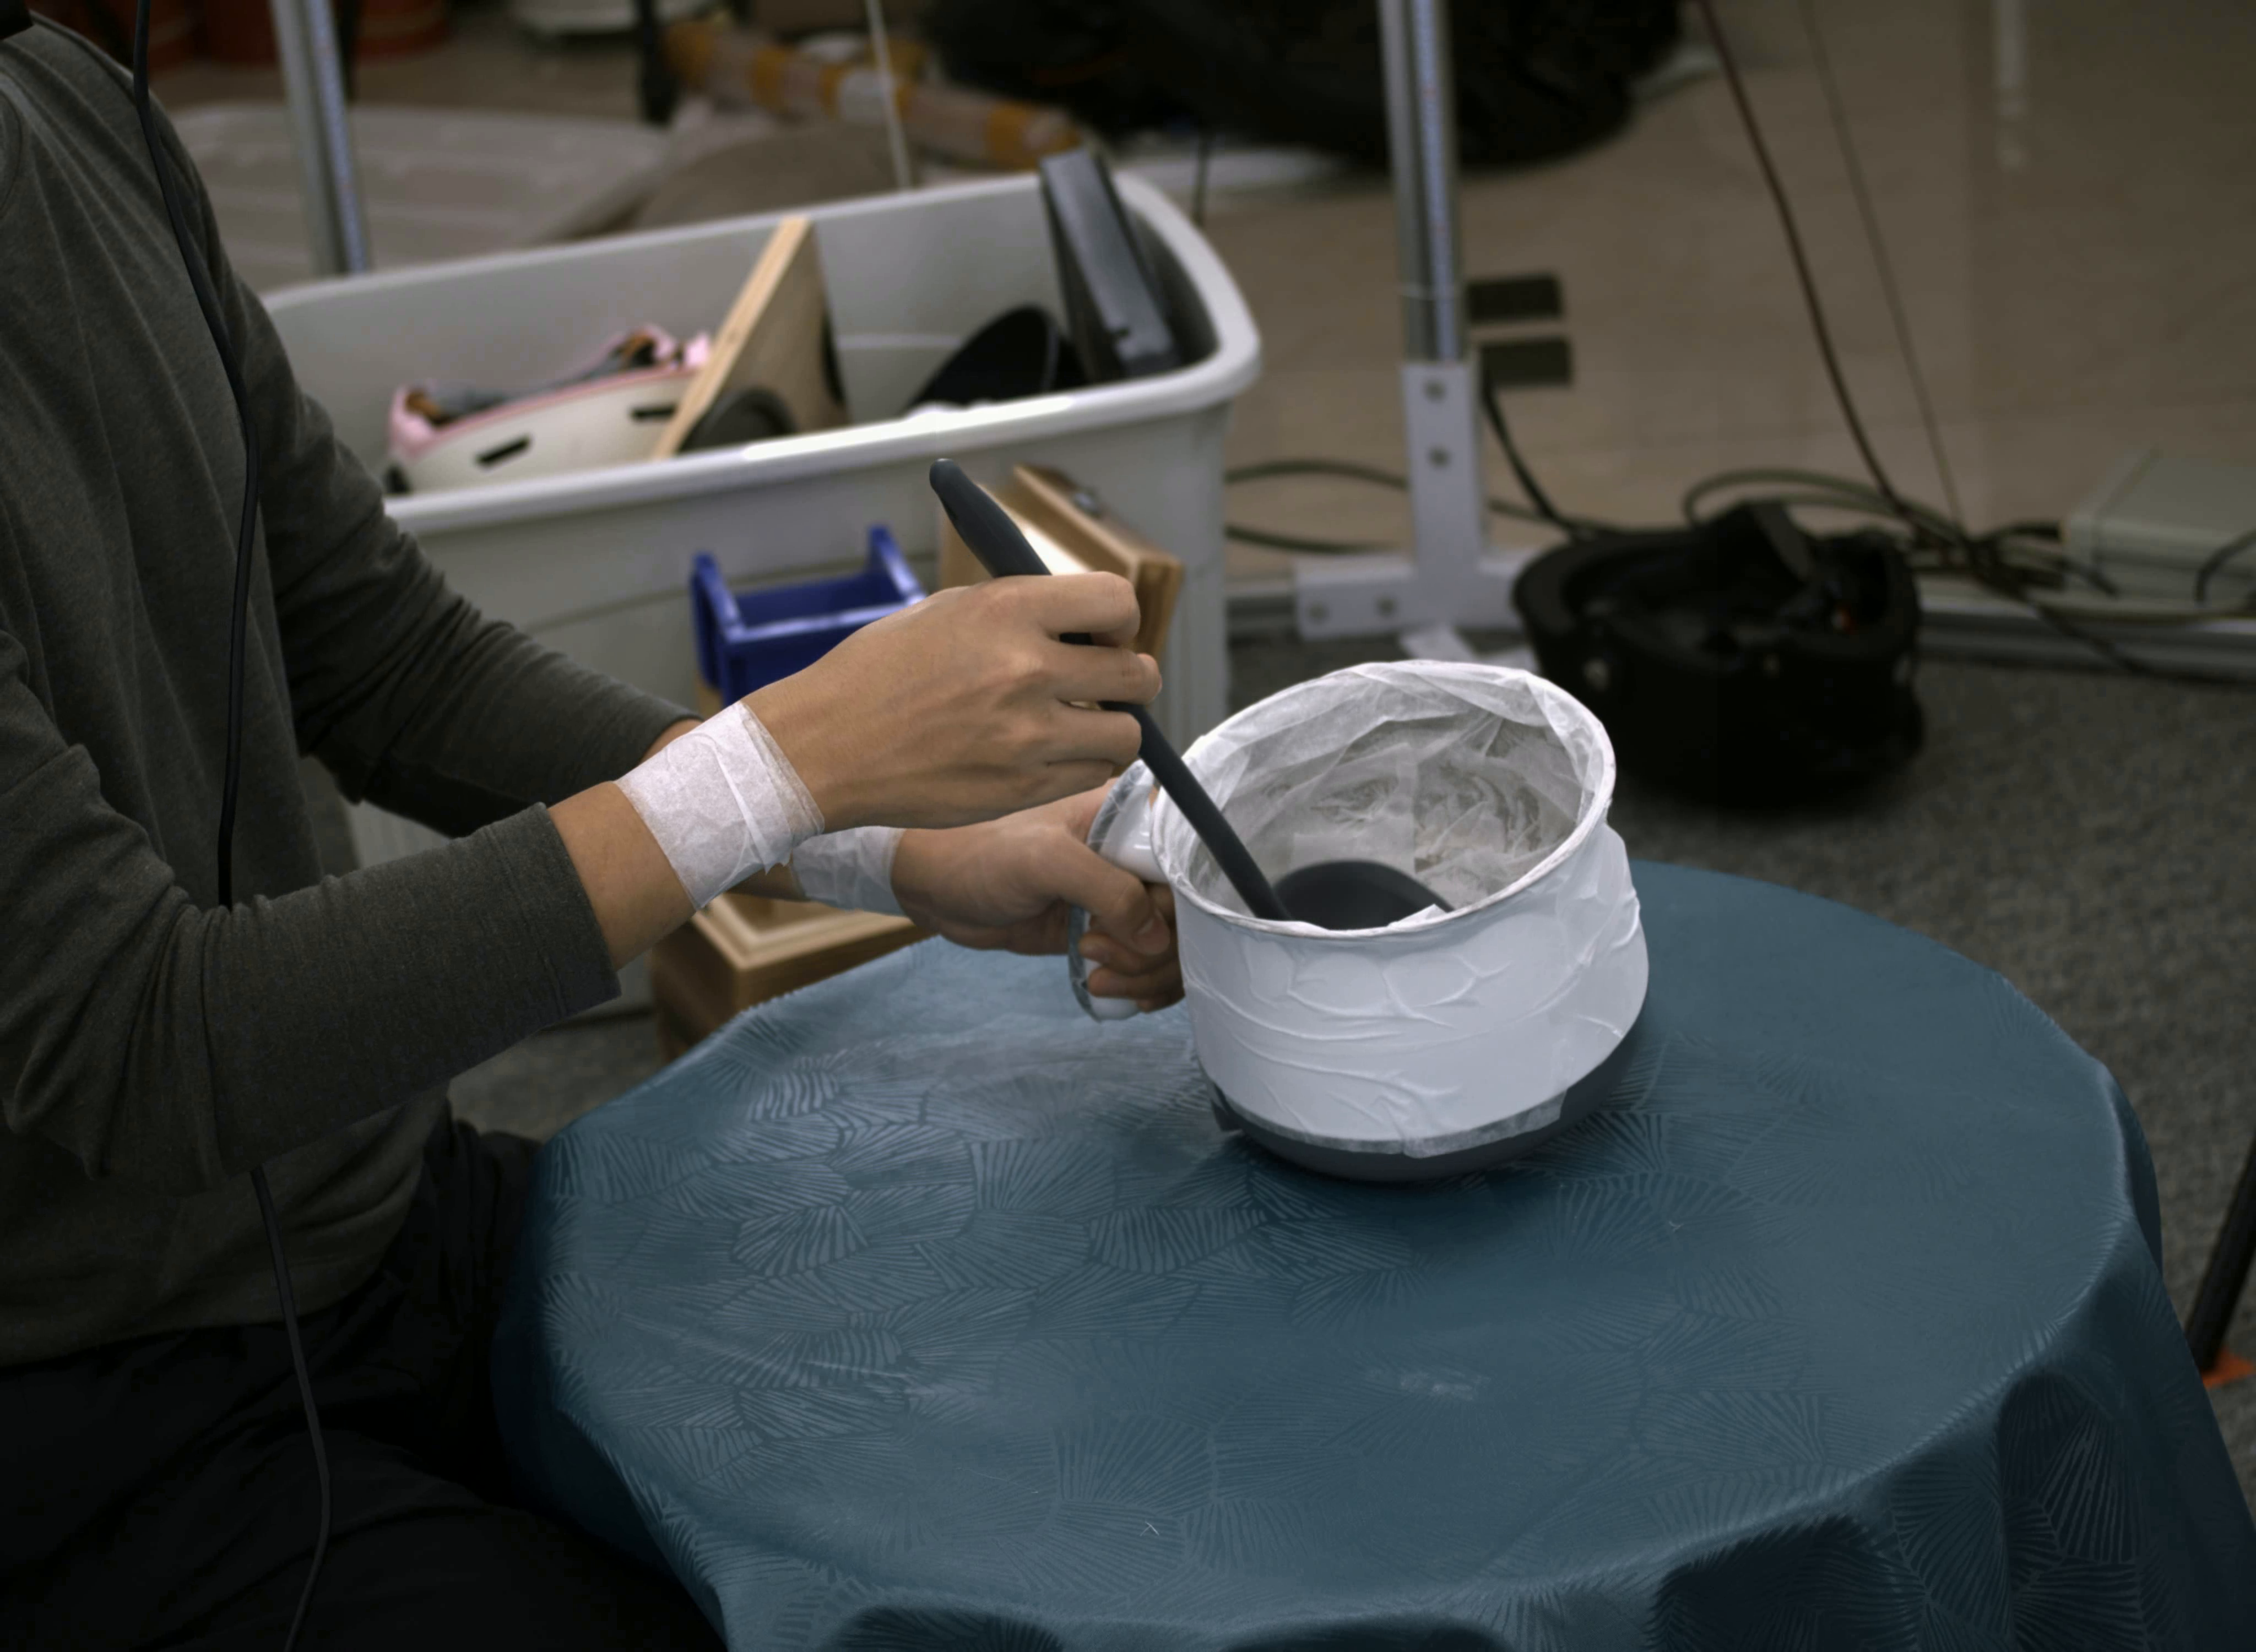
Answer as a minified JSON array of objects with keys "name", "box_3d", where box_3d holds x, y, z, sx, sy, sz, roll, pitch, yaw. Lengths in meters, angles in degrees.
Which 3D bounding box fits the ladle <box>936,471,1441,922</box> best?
[{"name":"ladle","box_3d":[0.029,-0.038,2.069,0.064,0.319,0.085,-44,38,-8]}]

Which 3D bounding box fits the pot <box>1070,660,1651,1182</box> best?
[{"name":"pot","box_3d":[0.081,0.037,2.165,0.233,0.139,0.176,5,38,24]}]
